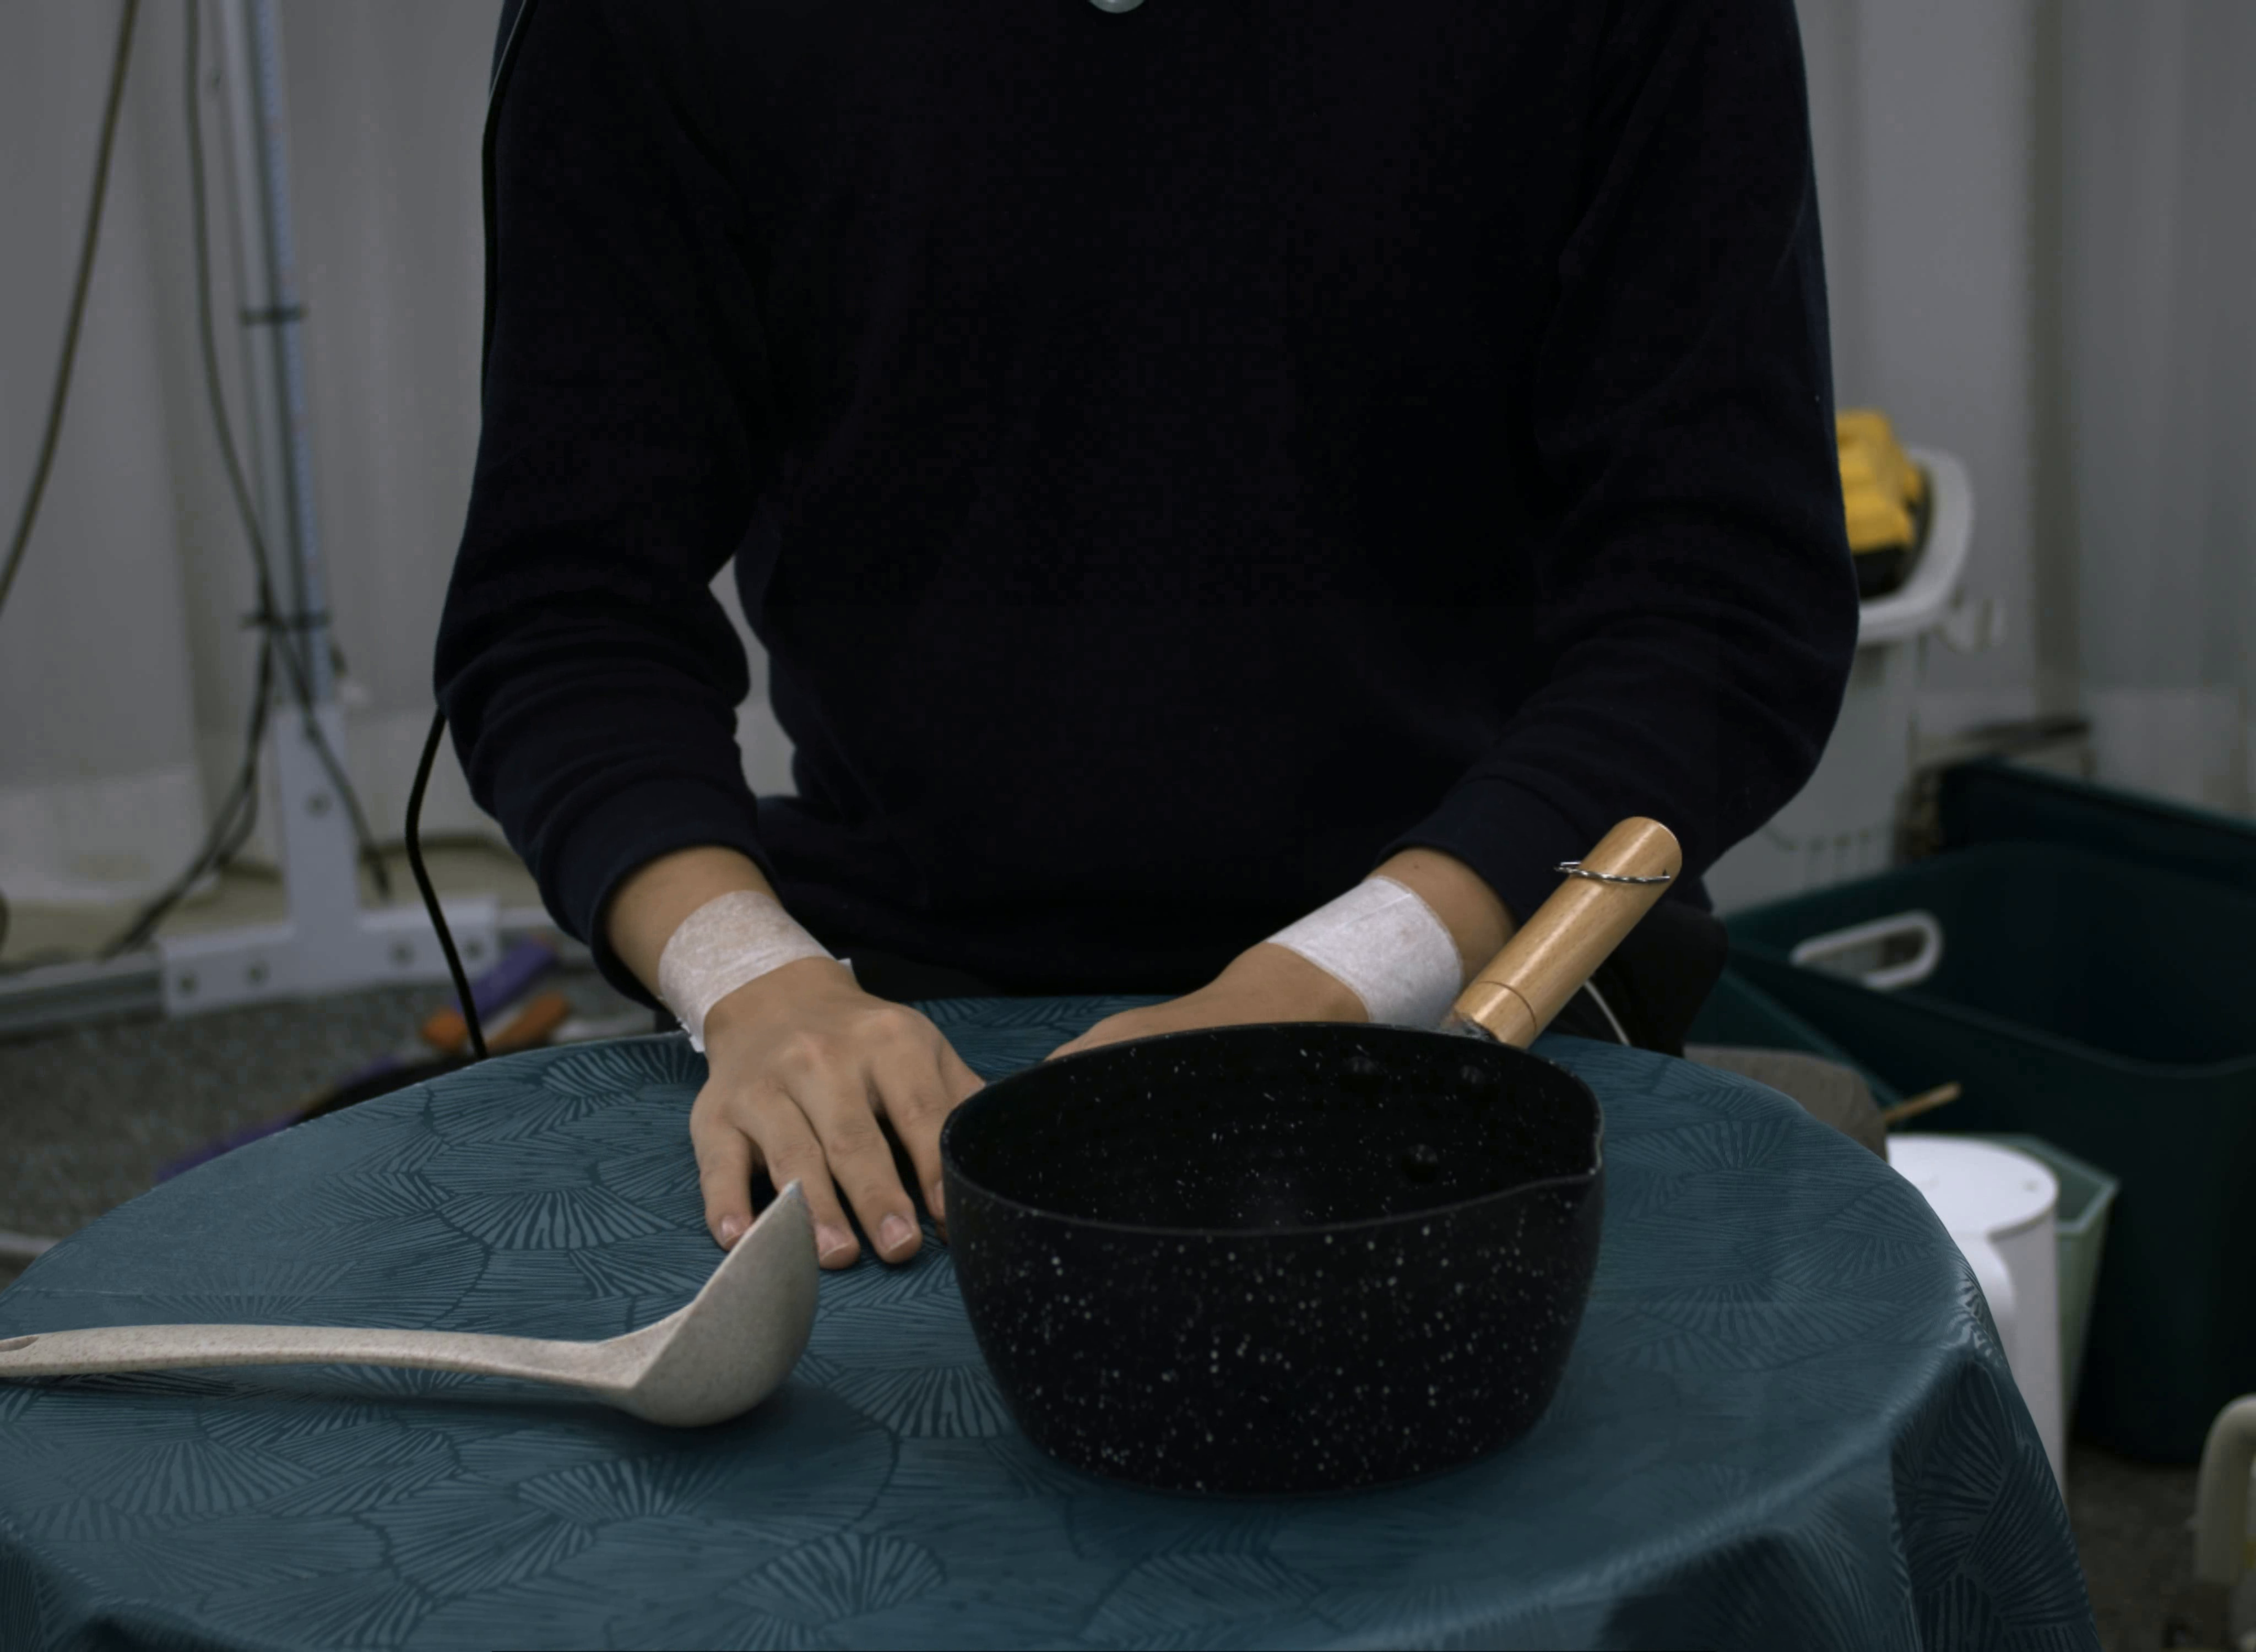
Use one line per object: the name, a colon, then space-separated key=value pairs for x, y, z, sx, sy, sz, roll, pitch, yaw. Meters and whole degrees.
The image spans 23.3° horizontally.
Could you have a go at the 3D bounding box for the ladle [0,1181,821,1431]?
ladle: x=-0.219 y=0.132 z=1.566 sx=0.275 sy=0.069 sz=0.090 roll=1 pitch=21 yaw=17

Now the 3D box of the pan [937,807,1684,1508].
pan: x=0.079 y=0.091 z=1.583 sx=0.208 sy=0.108 sz=0.343 roll=4 pitch=18 yaw=29
